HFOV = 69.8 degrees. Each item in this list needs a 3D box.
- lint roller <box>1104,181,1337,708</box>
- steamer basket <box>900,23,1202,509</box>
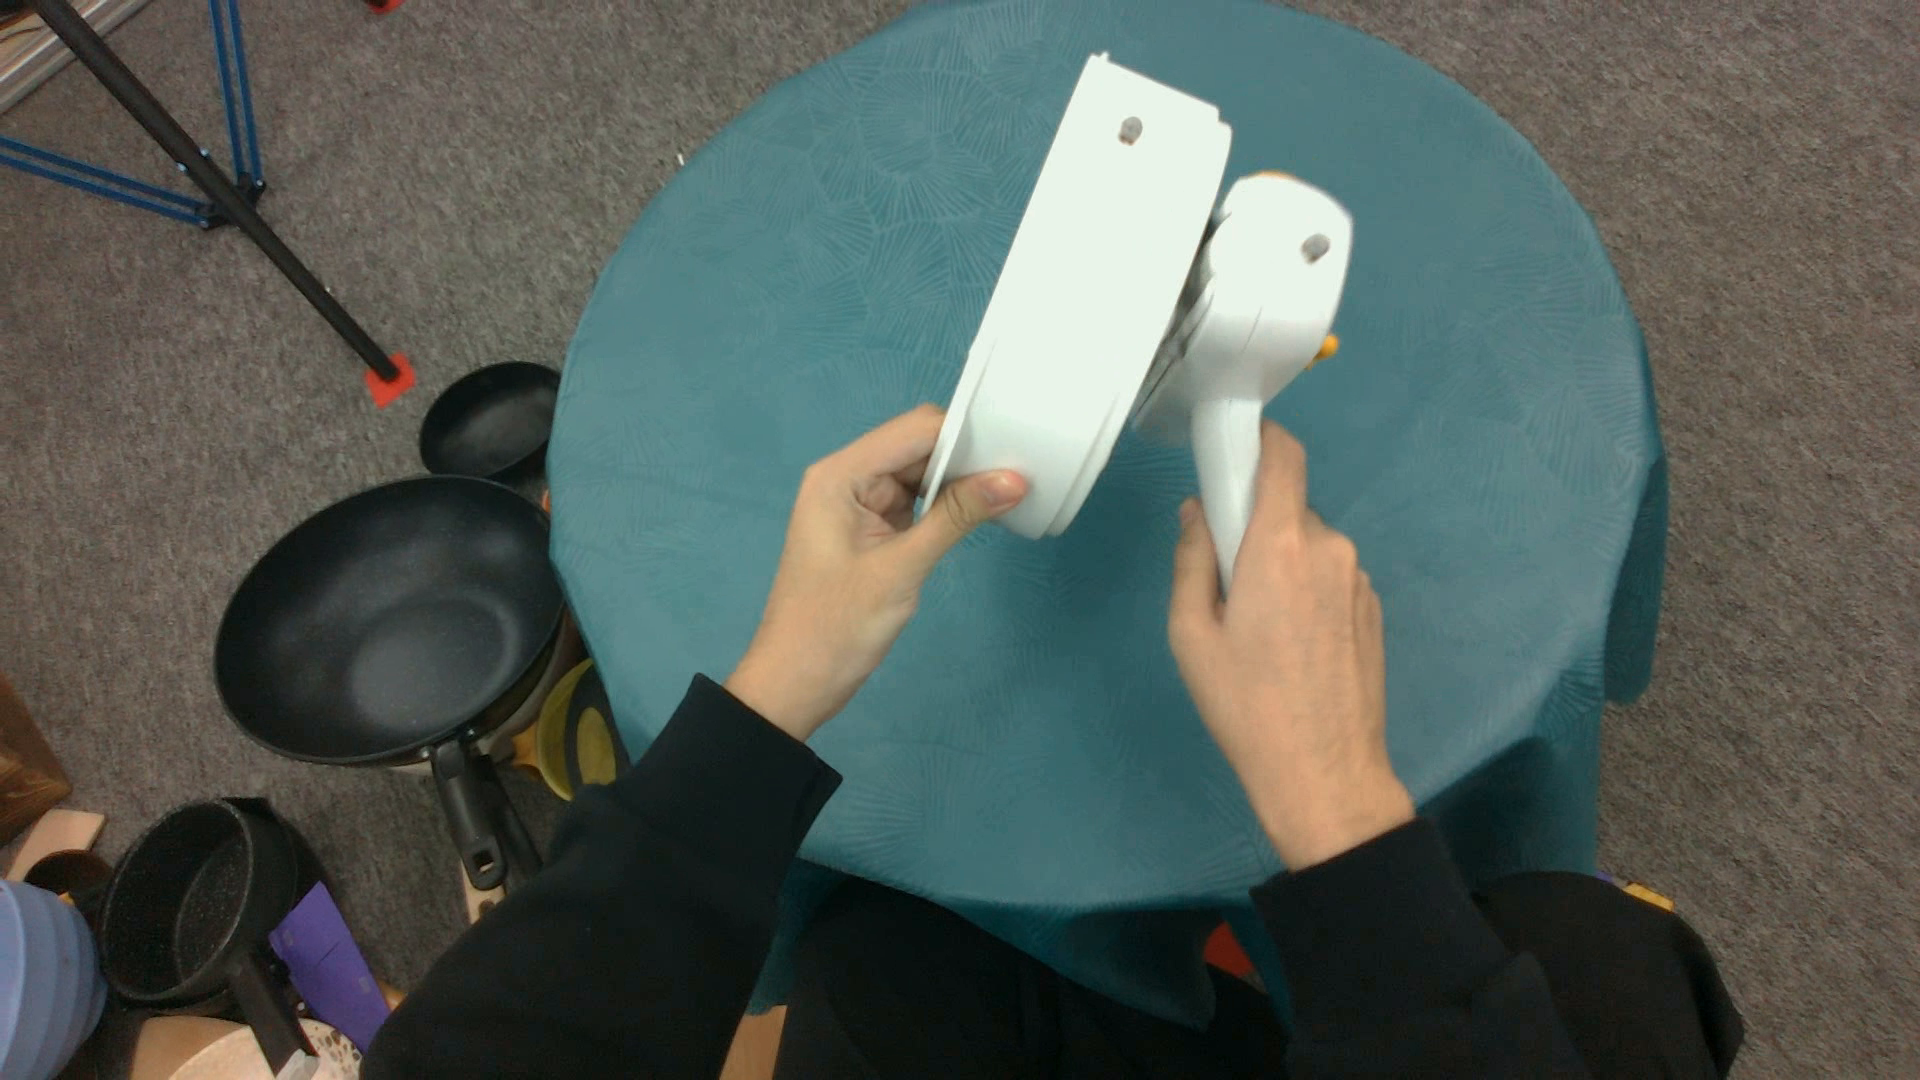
[{"bbox_3d":[0.105,-0.028,0.568,0.074,0.192,0.192,4,83,-9],"label":"lint roller"},{"bbox_3d":[0.039,-0.111,0.591,0.069,0.201,0.231,21,60,-3],"label":"steamer basket"}]
